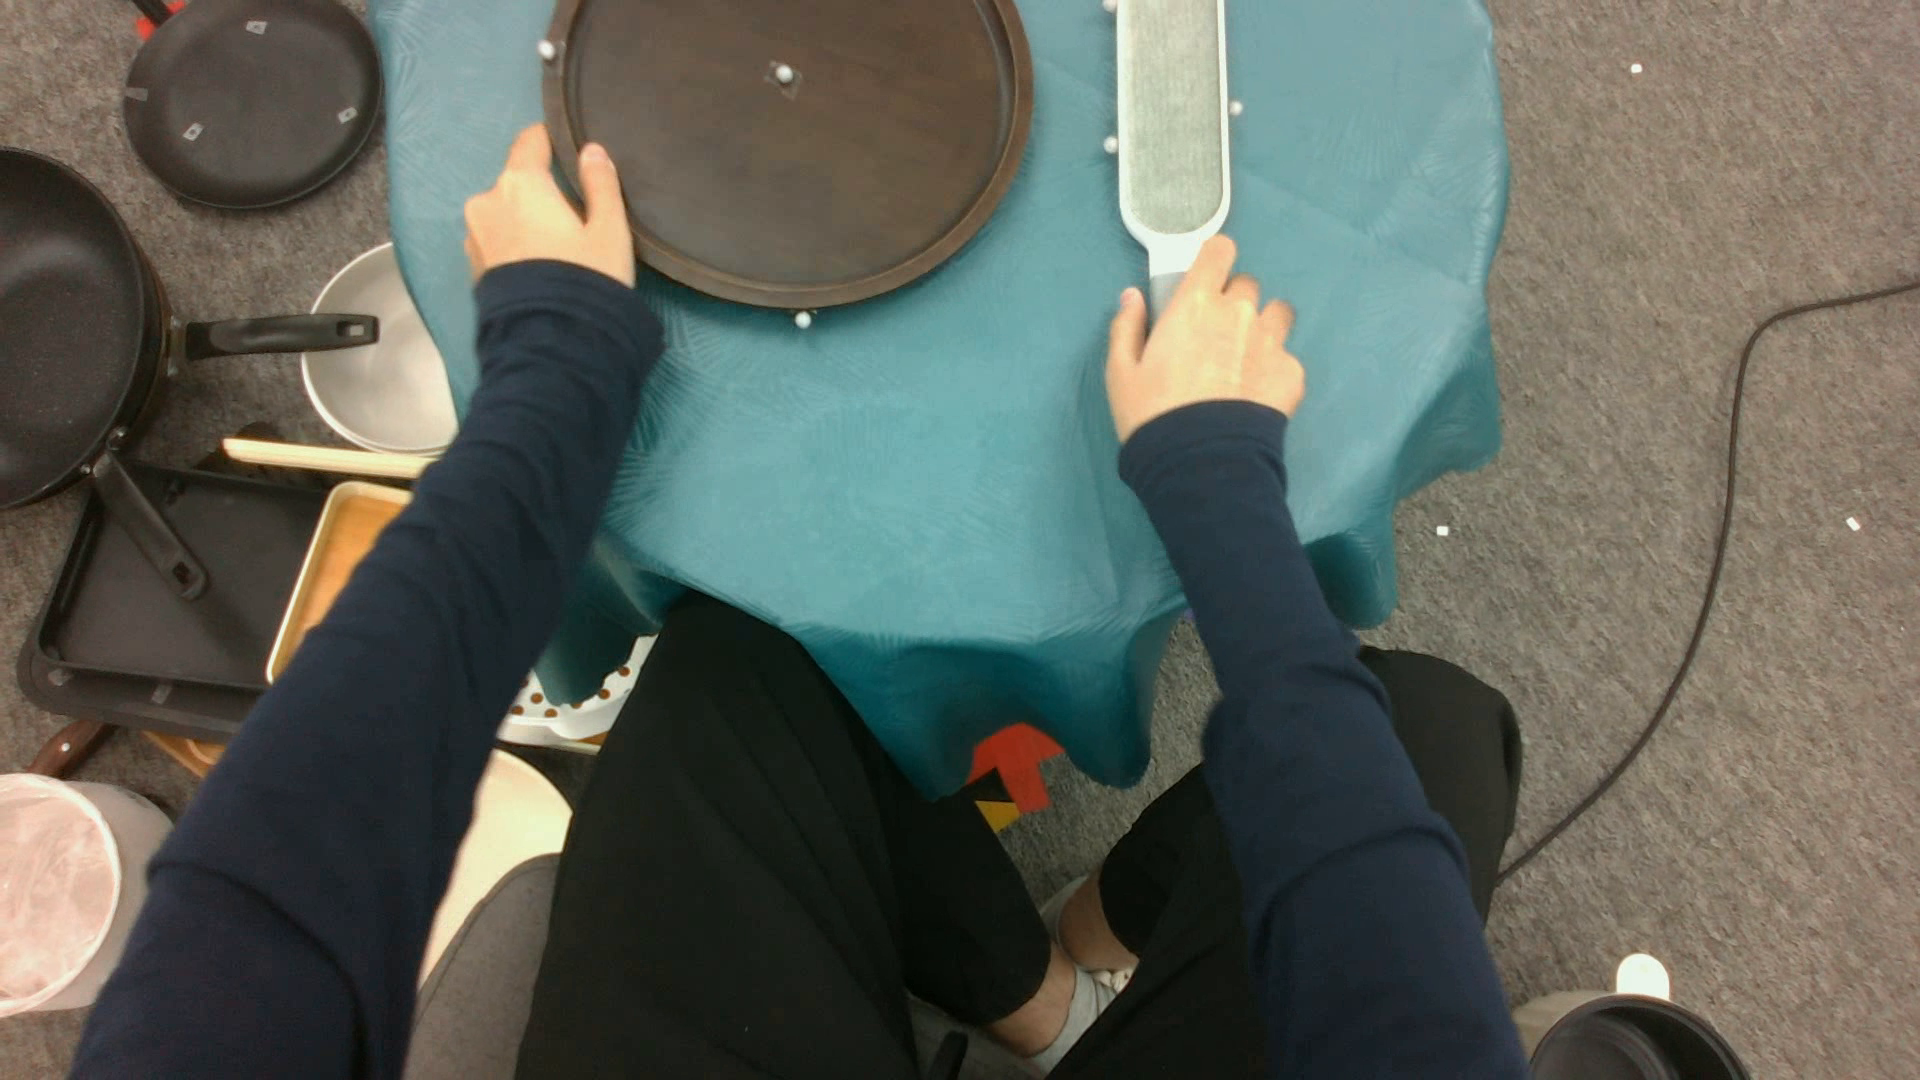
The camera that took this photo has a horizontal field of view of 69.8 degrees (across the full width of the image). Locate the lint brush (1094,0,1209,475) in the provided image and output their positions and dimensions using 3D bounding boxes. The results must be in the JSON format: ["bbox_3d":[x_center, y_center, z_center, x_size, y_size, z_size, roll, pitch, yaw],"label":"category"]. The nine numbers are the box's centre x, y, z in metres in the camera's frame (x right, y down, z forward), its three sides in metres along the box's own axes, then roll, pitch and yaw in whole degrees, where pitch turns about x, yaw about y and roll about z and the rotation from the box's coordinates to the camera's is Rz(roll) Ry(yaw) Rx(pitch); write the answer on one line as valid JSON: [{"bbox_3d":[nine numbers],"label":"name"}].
[{"bbox_3d":[0.099,-0.182,0.717,0.060,0.021,0.309,1,74,-1],"label":"lint brush"}]

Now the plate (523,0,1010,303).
[{"bbox_3d":[-0.099,-0.240,0.725,0.255,0.029,0.255,0,75,-2],"label":"plate"}]
